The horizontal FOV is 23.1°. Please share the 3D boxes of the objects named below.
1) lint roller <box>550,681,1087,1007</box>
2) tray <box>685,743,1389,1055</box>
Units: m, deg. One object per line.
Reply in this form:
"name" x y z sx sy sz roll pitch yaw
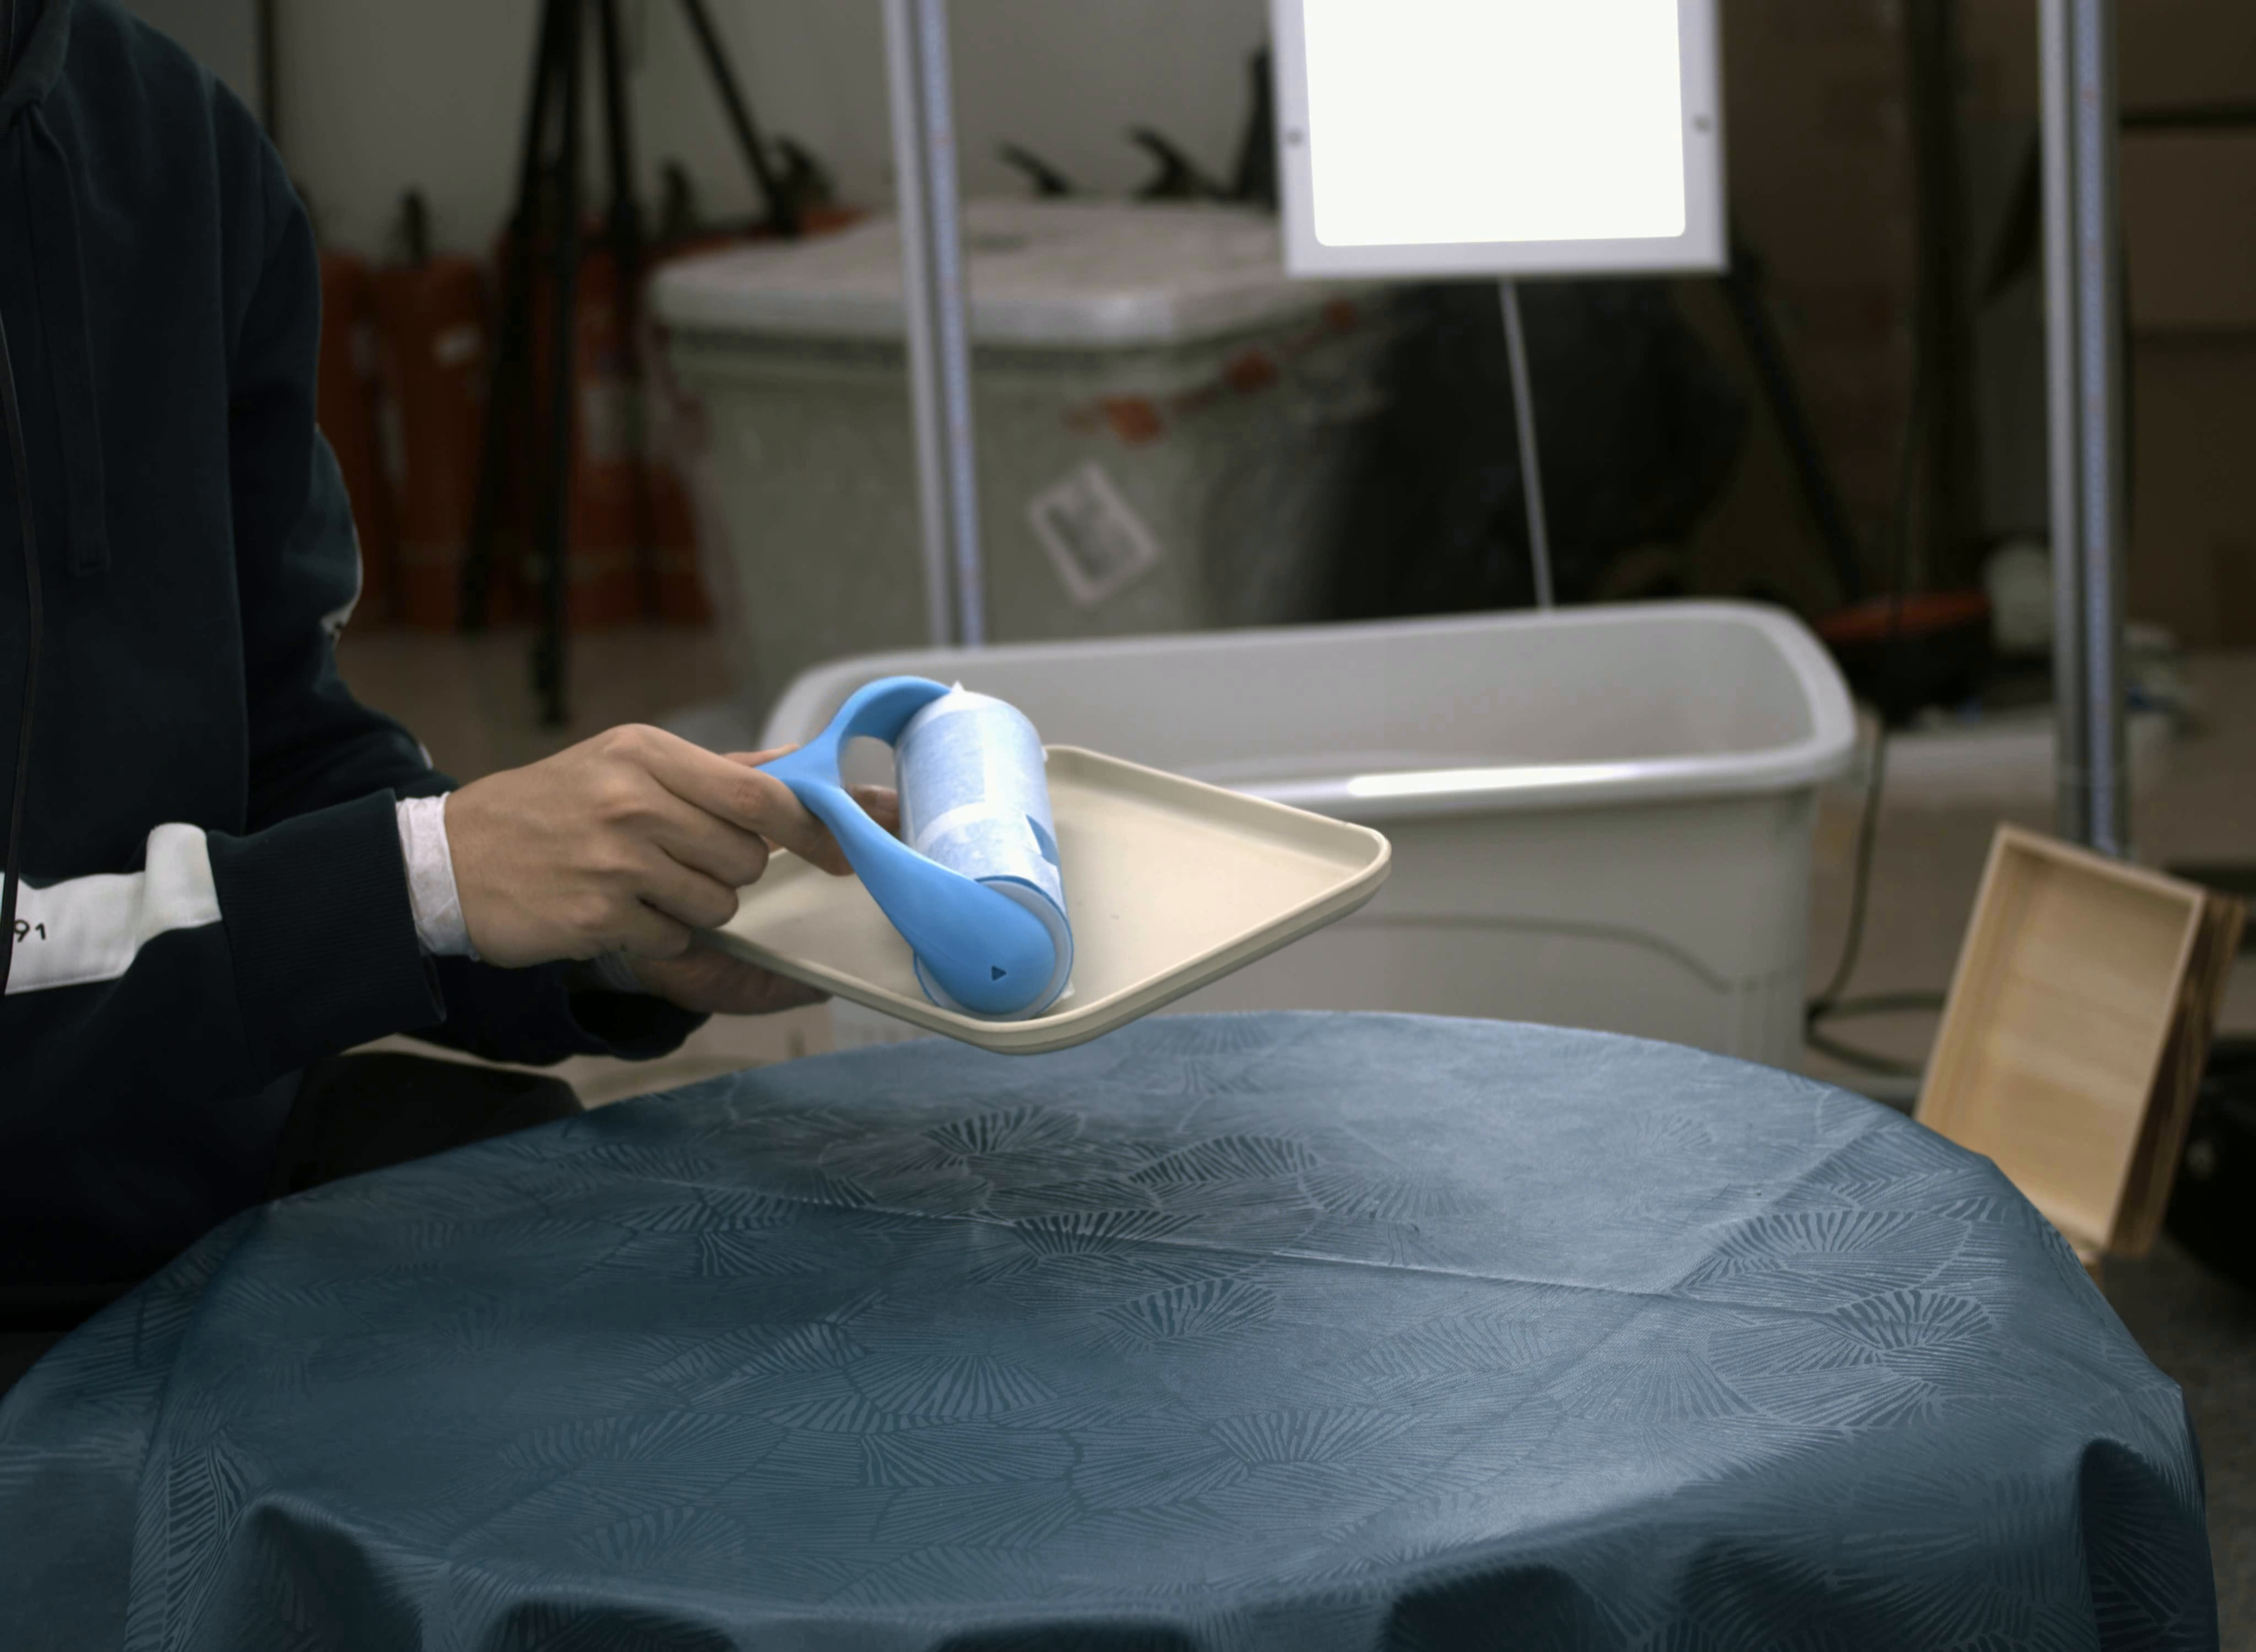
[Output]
"lint roller" -0.107 0.010 1.877 0.179 0.068 0.229 -3 21 -5
"tray" -0.033 0.024 1.891 0.168 0.017 0.244 -26 23 -27
